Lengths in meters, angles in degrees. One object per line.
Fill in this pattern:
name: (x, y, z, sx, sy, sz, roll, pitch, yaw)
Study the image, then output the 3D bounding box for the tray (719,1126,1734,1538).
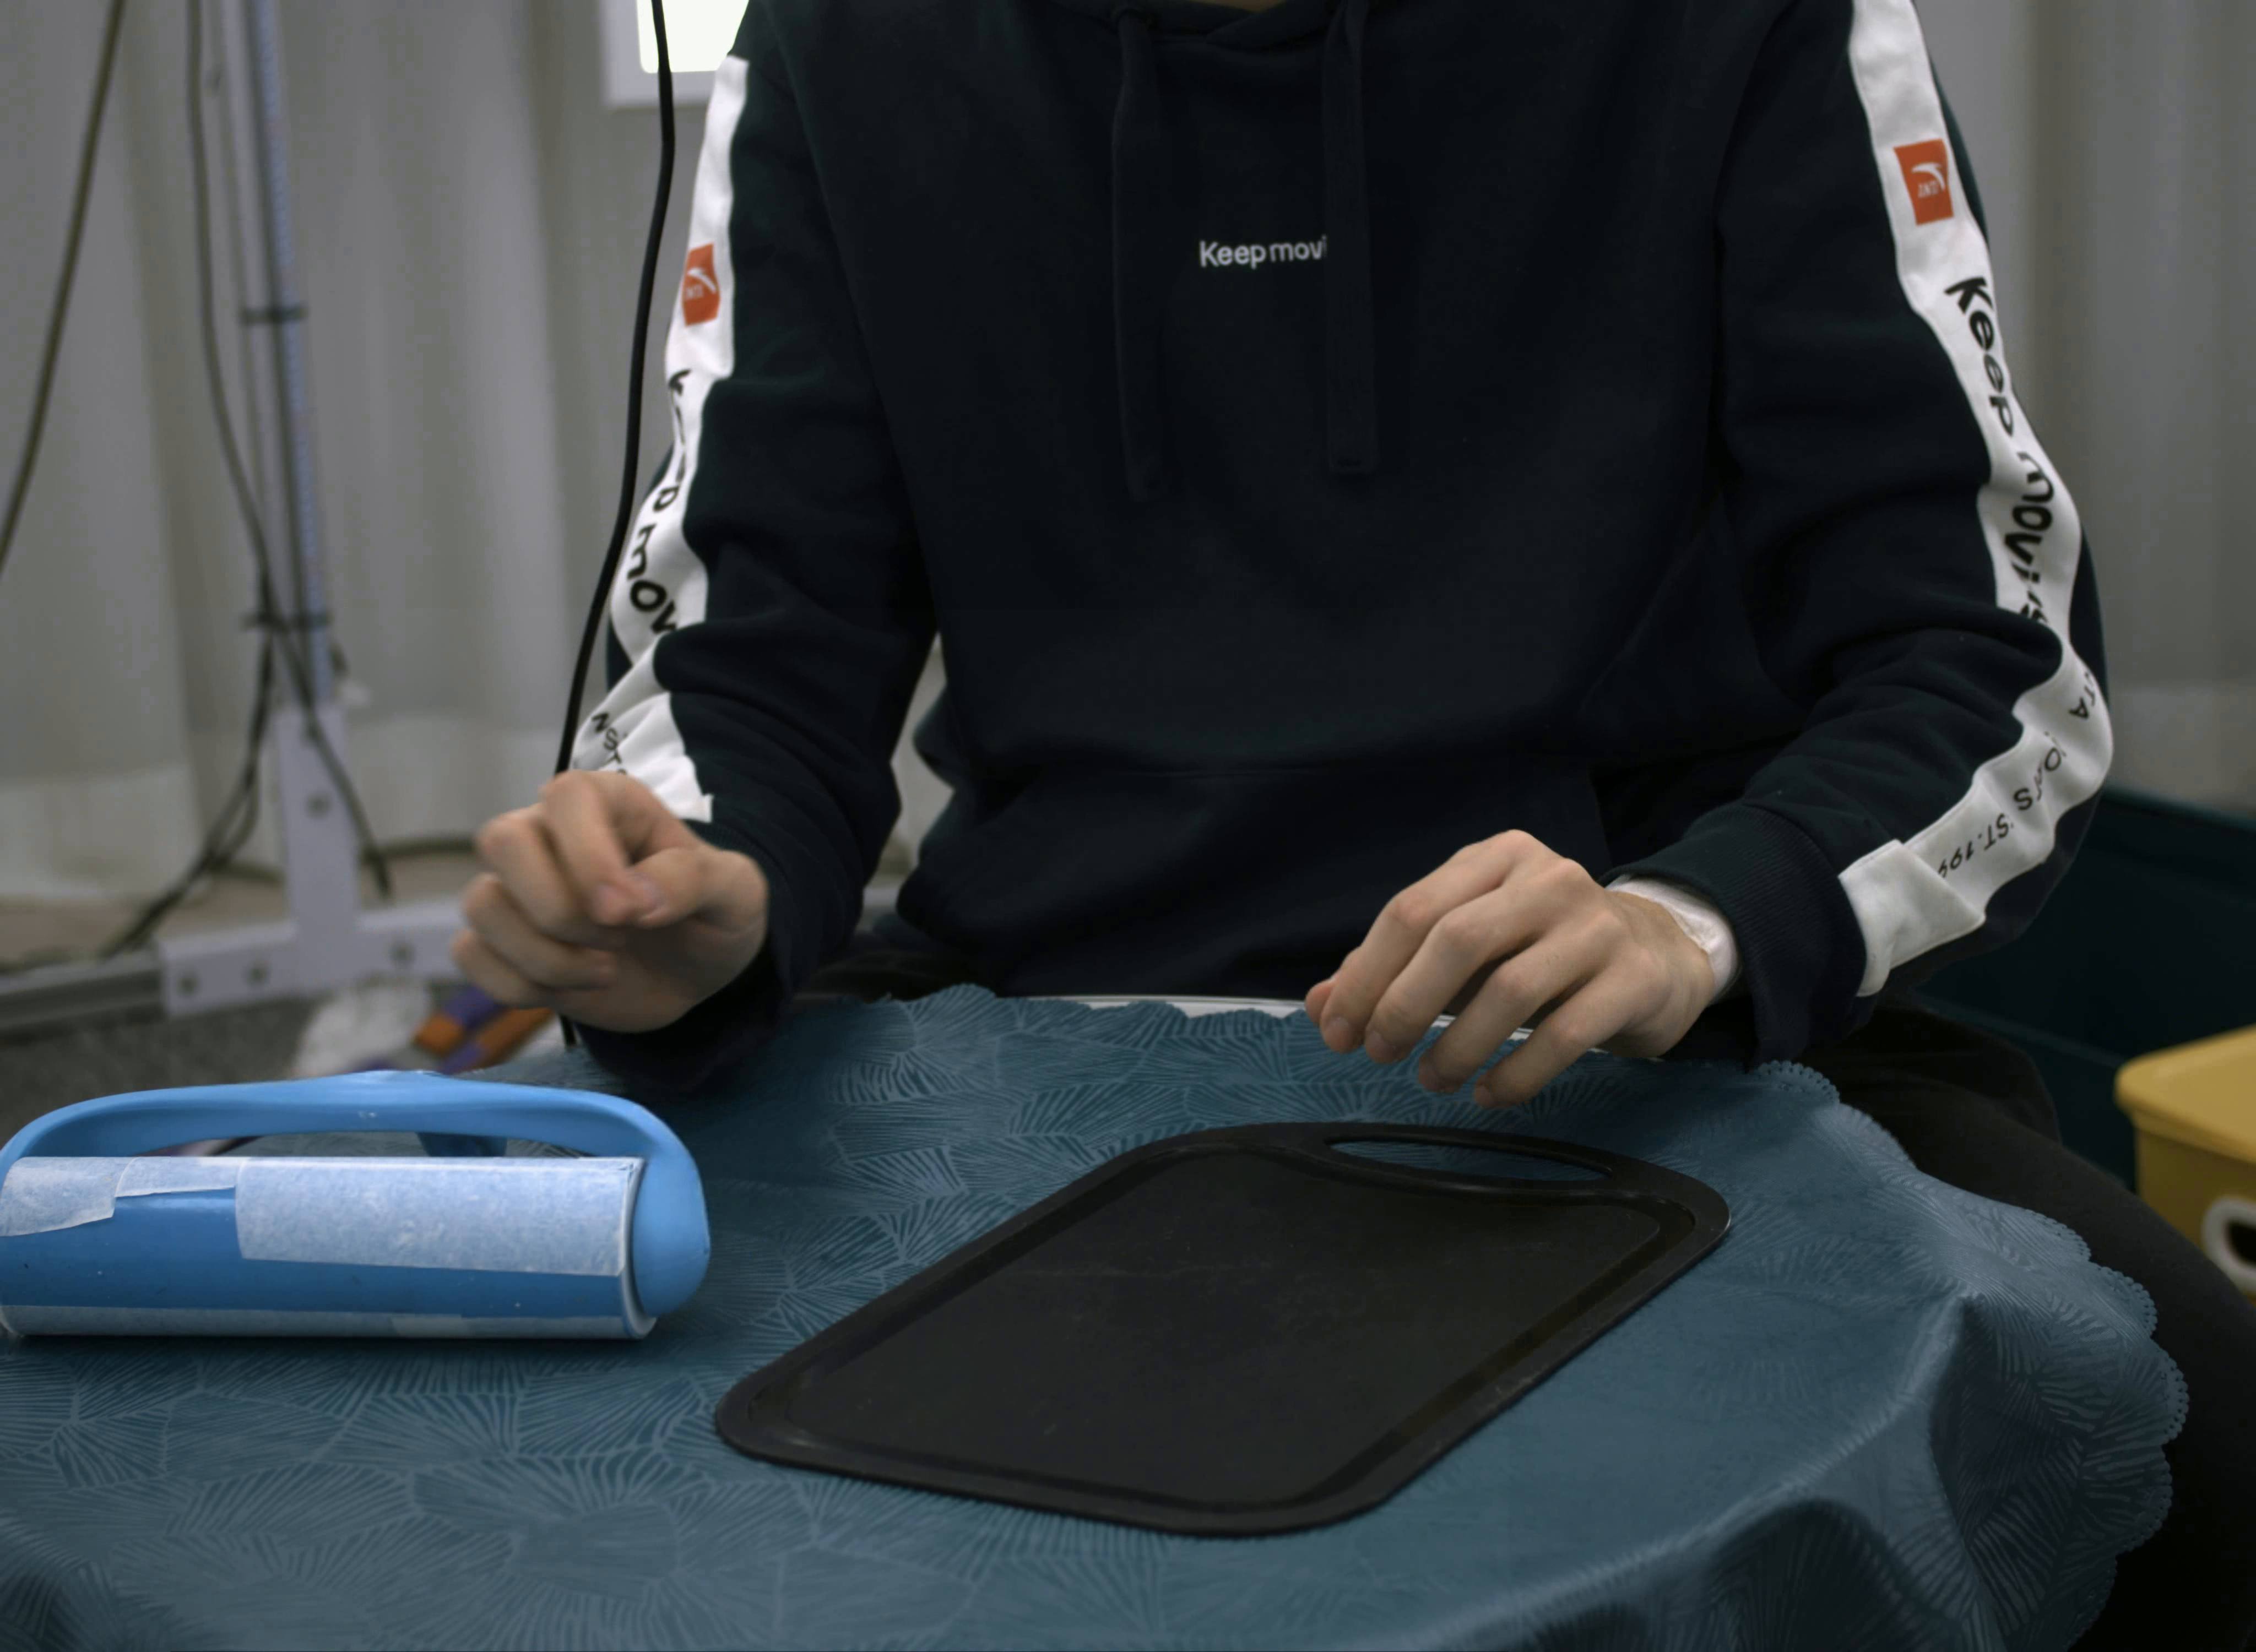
tray: (0.038, 0.139, 1.604, 0.211, 0.010, 0.326, 6, 17, 30)

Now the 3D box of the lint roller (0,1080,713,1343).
lint roller: (-0.229, 0.108, 1.675, 0.228, 0.067, 0.181, -3, 16, 7)
